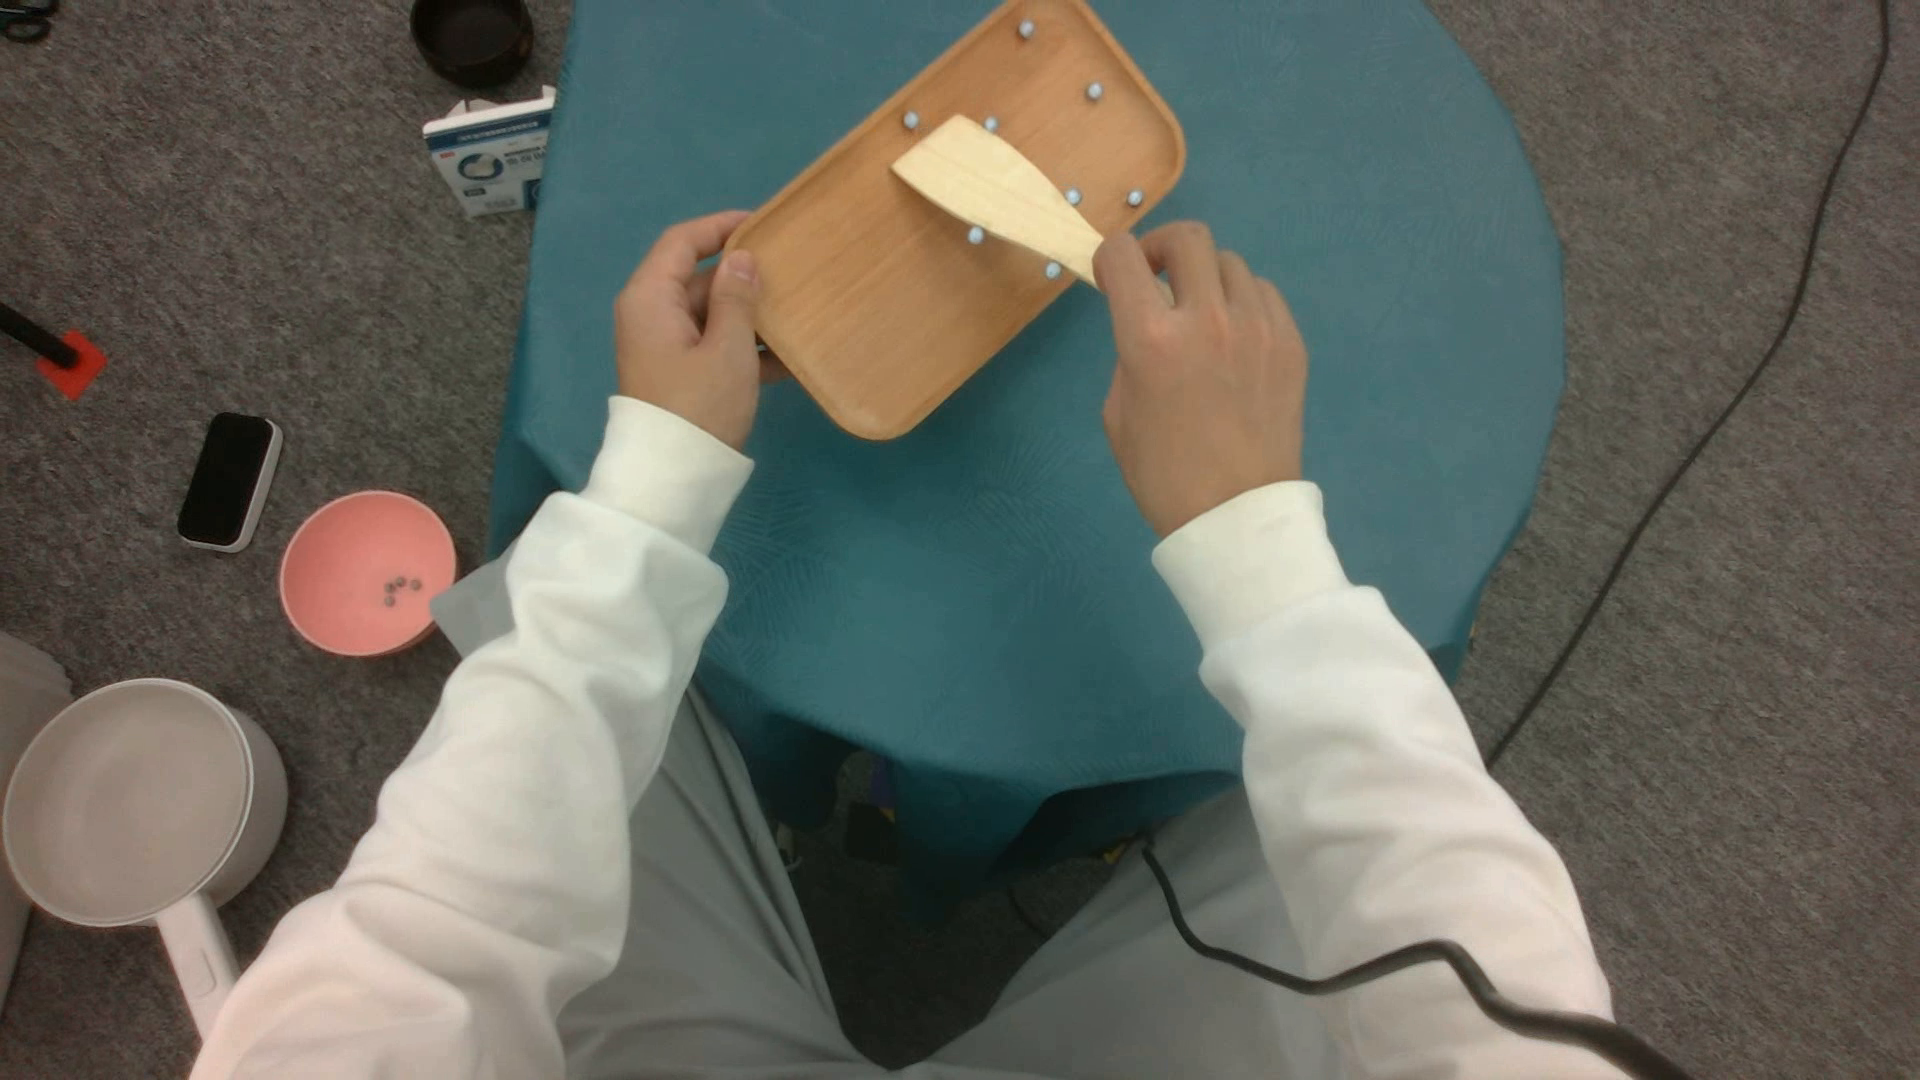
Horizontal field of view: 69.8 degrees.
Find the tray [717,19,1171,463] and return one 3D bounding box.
[{"bbox_3d":[-0.003,-0.157,0.712,0.130,0.023,0.251,45,74,-3],"label":"tray"}]

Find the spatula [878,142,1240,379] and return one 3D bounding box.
[{"bbox_3d":[0.048,-0.135,0.667,0.208,0.005,0.050,37,72,24],"label":"spatula"}]
